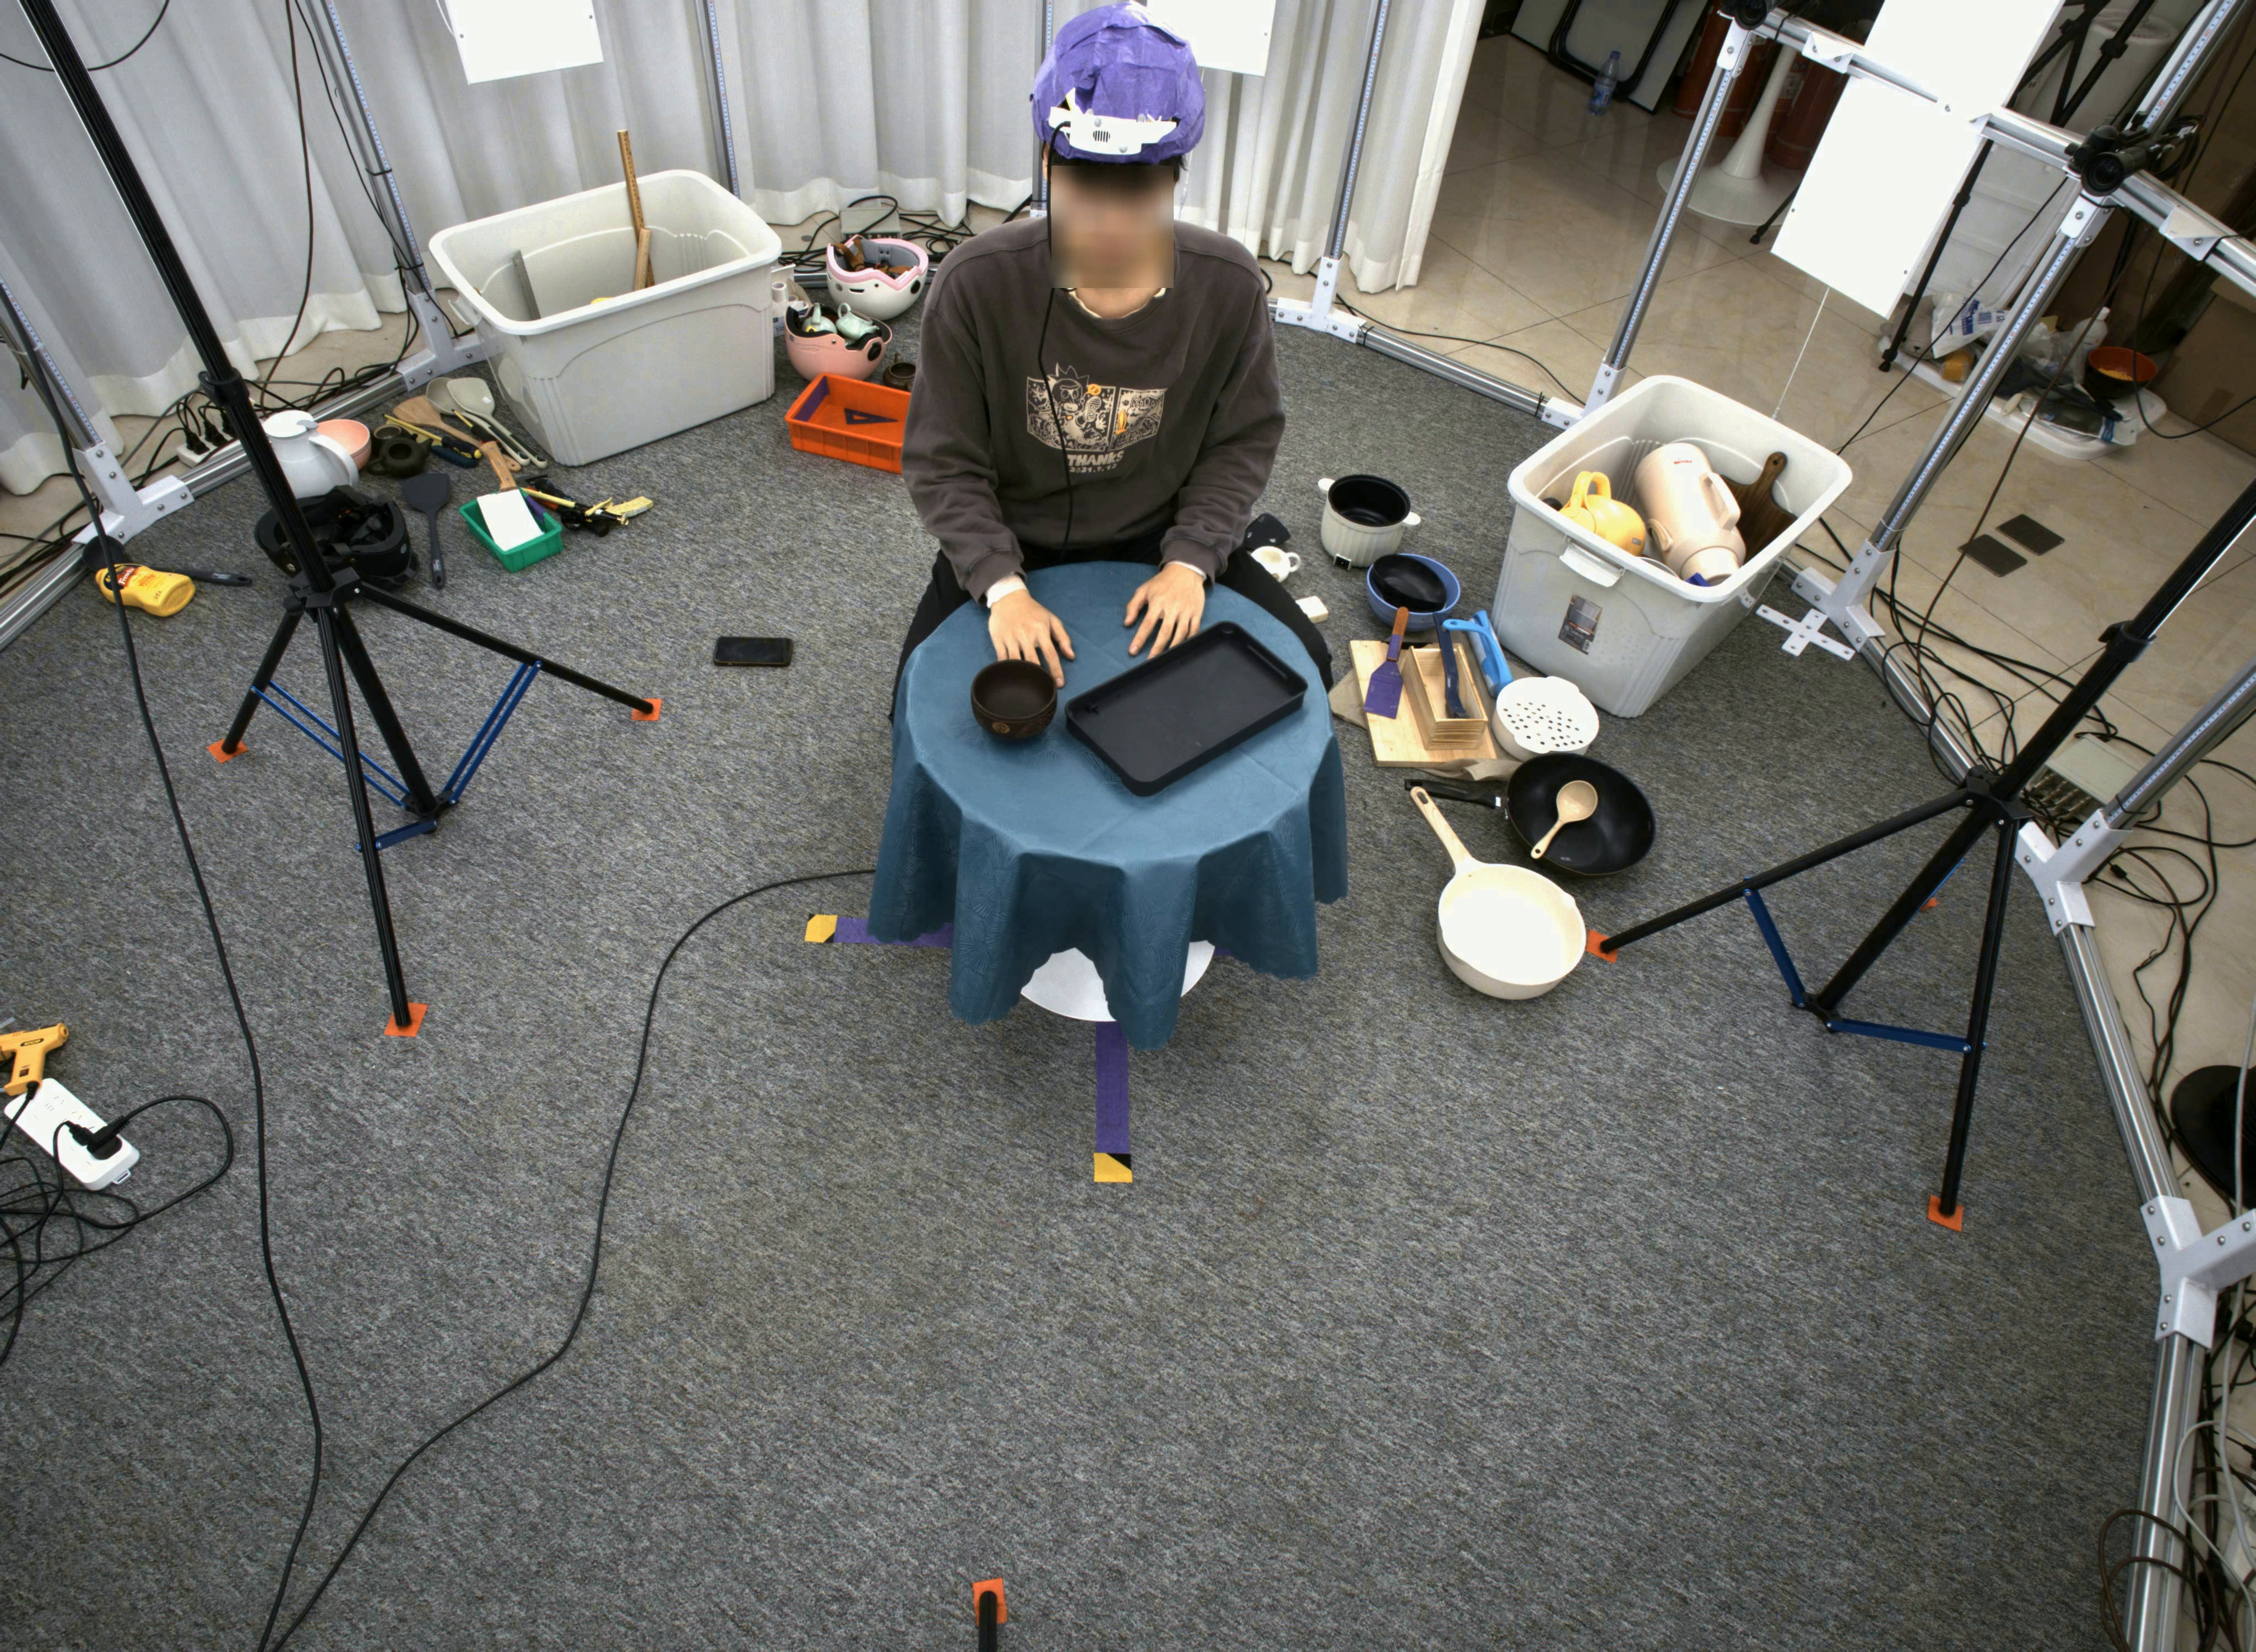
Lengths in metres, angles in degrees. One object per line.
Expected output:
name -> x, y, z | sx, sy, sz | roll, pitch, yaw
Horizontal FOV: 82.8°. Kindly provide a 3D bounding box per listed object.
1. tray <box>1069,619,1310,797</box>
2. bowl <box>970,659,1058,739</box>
tray -> 0.088, -0.171, 1.797 | 0.320, 0.036, 0.187 | -32, 57, -27
bowl -> -0.155, -0.165, 1.753 | 0.118, 0.068, 0.121 | 2, 47, -2
